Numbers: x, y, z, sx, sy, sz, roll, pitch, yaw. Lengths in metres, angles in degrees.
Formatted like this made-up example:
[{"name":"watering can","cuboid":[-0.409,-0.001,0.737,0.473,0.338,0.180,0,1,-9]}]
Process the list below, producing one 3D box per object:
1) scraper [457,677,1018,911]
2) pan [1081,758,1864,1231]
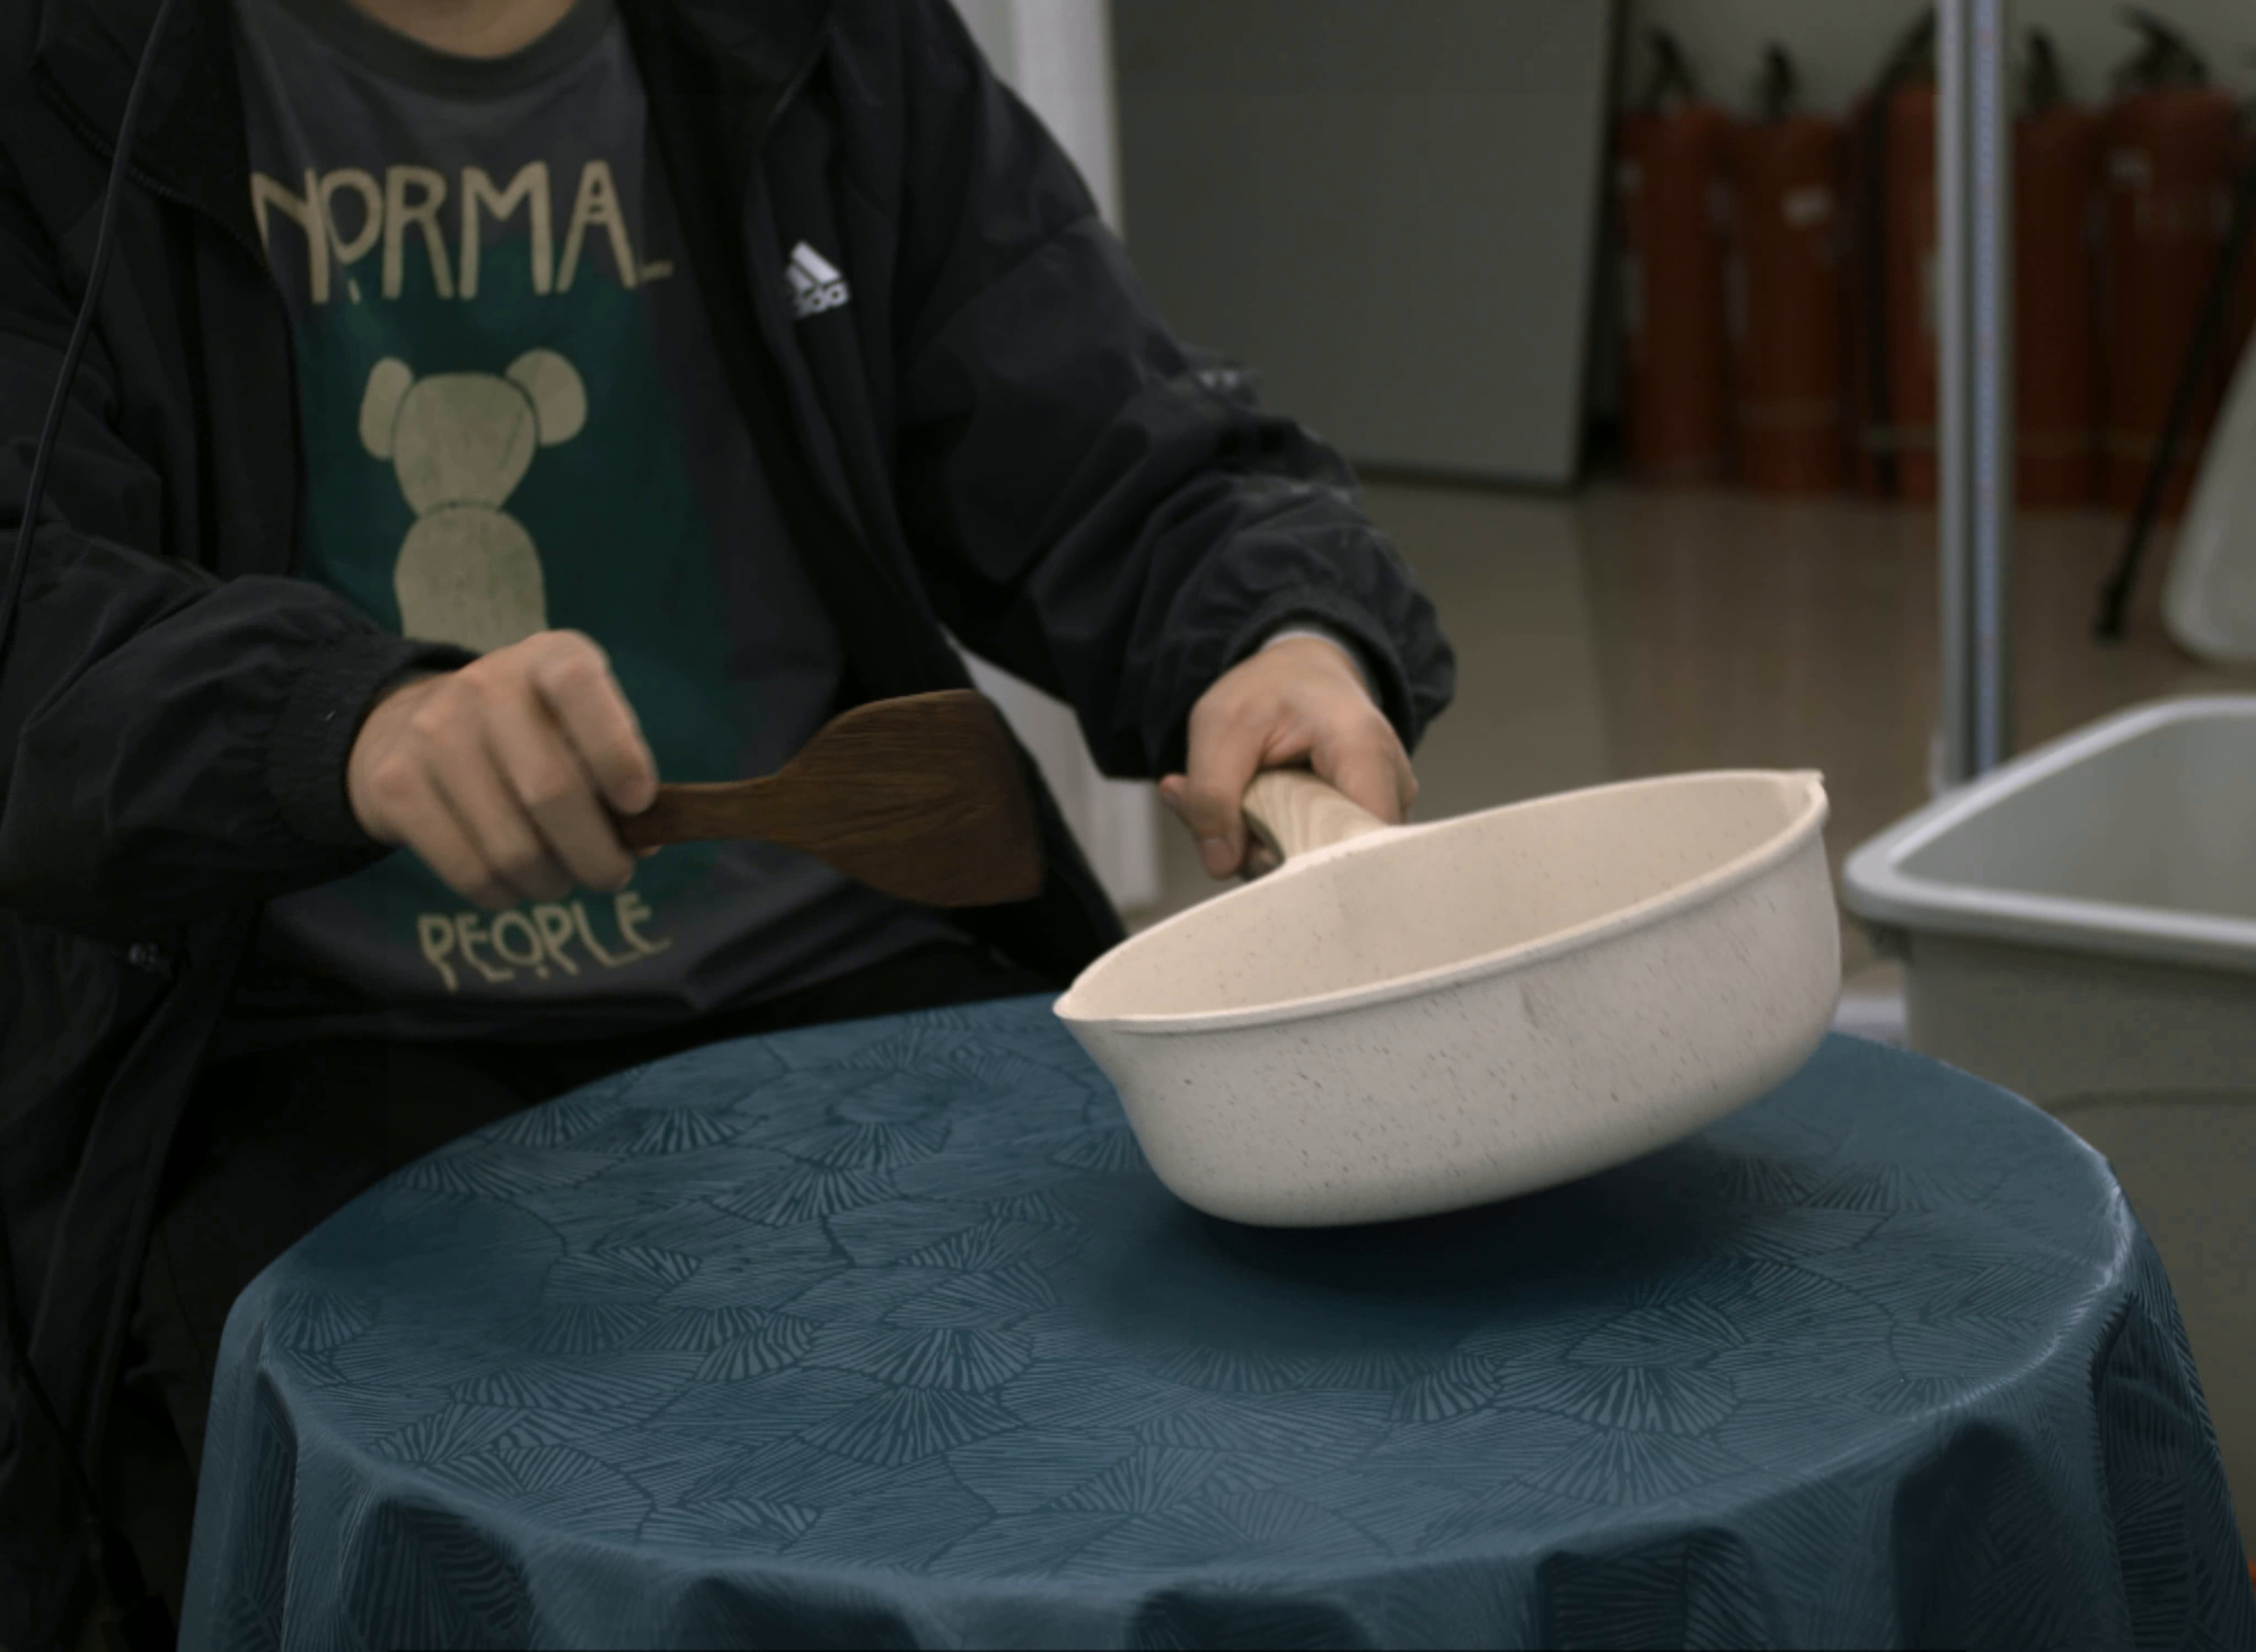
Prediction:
[{"name":"scraper","cuboid":[-0.127,-0.004,1.683,0.212,0.076,0.011,-4,24,35]},{"name":"pan","cuboid":[0.097,0.042,1.808,0.259,0.103,0.437,-19,9,-9]}]
